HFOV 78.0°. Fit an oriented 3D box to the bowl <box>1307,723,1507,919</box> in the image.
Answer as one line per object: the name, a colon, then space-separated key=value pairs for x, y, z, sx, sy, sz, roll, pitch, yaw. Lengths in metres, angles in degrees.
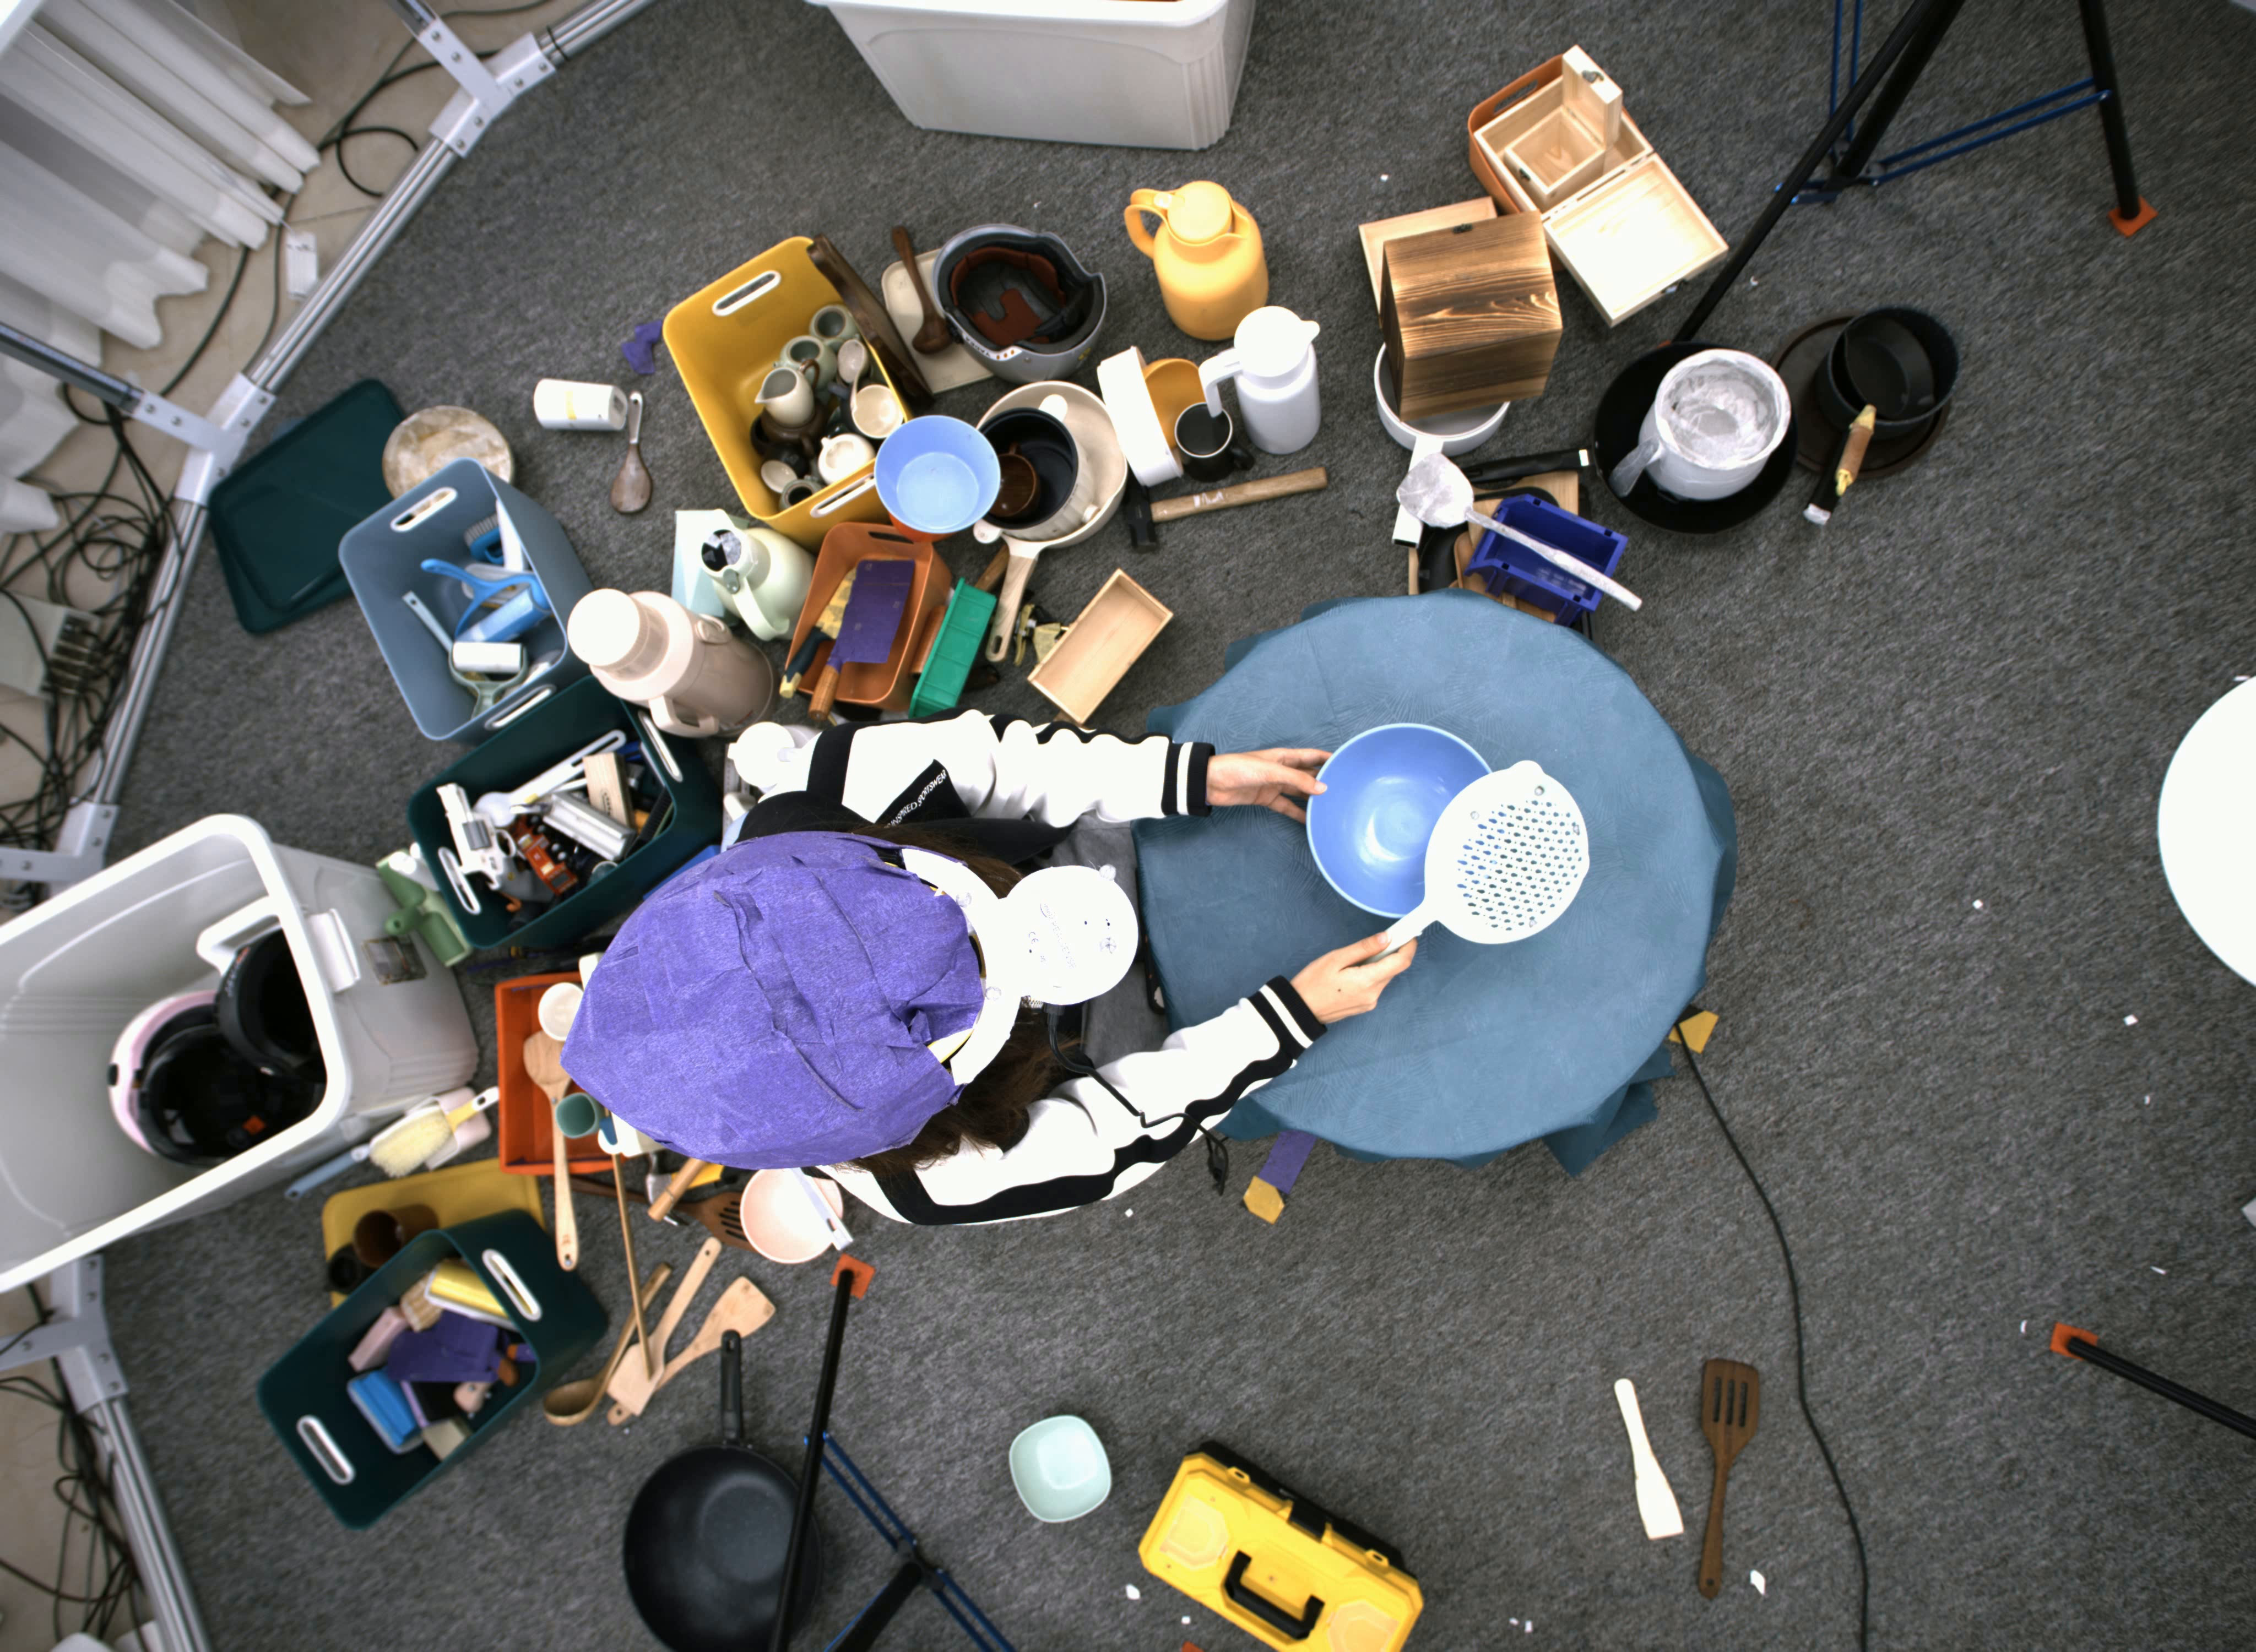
bowl: x=0.284 y=-0.002 z=1.414 sx=0.197 sy=0.095 sz=0.195 roll=-1 pitch=87 yaw=10

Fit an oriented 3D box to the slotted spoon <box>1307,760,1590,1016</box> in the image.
slotted spoon: x=0.297 y=0.086 z=1.348 sx=0.365 sy=0.076 sz=0.165 roll=-37 pitch=50 yaw=27
